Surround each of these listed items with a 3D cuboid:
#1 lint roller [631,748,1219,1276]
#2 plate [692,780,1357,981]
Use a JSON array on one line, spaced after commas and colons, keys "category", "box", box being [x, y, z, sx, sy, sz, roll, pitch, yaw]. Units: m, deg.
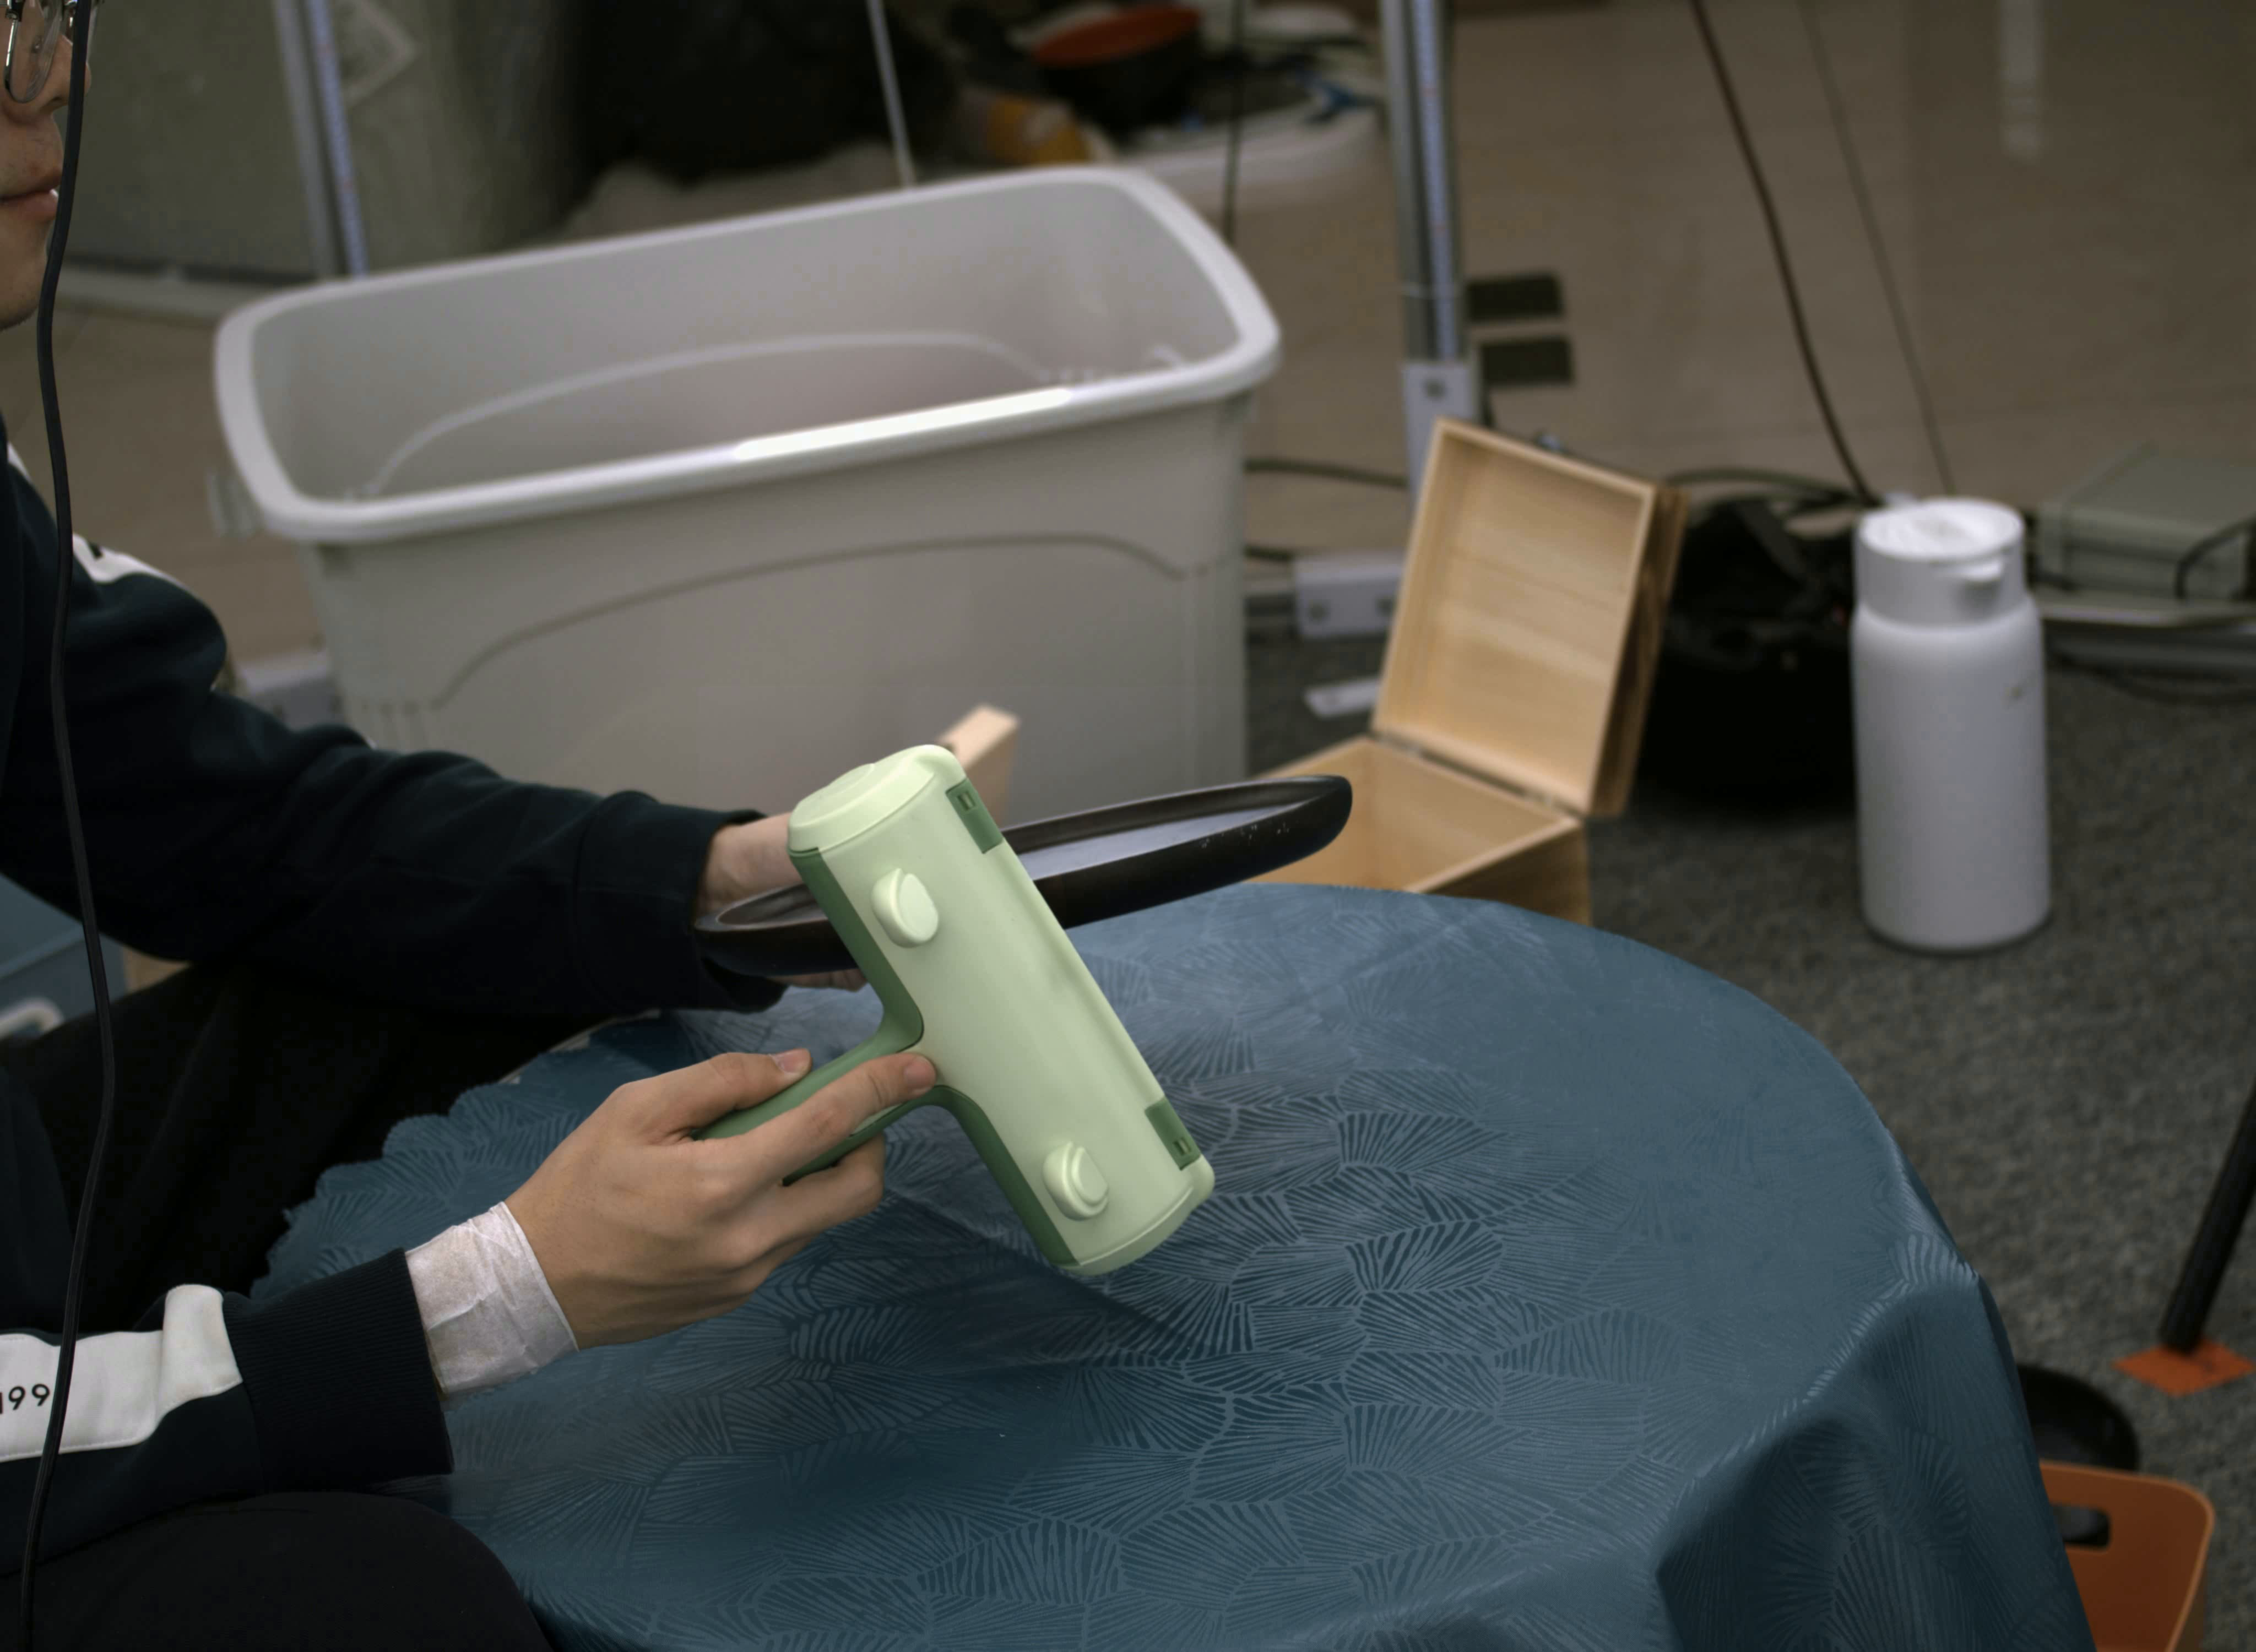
[{"category": "lint roller", "box": [-0.091, 0.099, 1.963, 0.183, 0.200, 0.081, -34, 17, -3]}, {"category": "plate", "box": [-0.037, 0.019, 2.111, 0.254, 0.029, 0.253, -12, 6, 2]}]
